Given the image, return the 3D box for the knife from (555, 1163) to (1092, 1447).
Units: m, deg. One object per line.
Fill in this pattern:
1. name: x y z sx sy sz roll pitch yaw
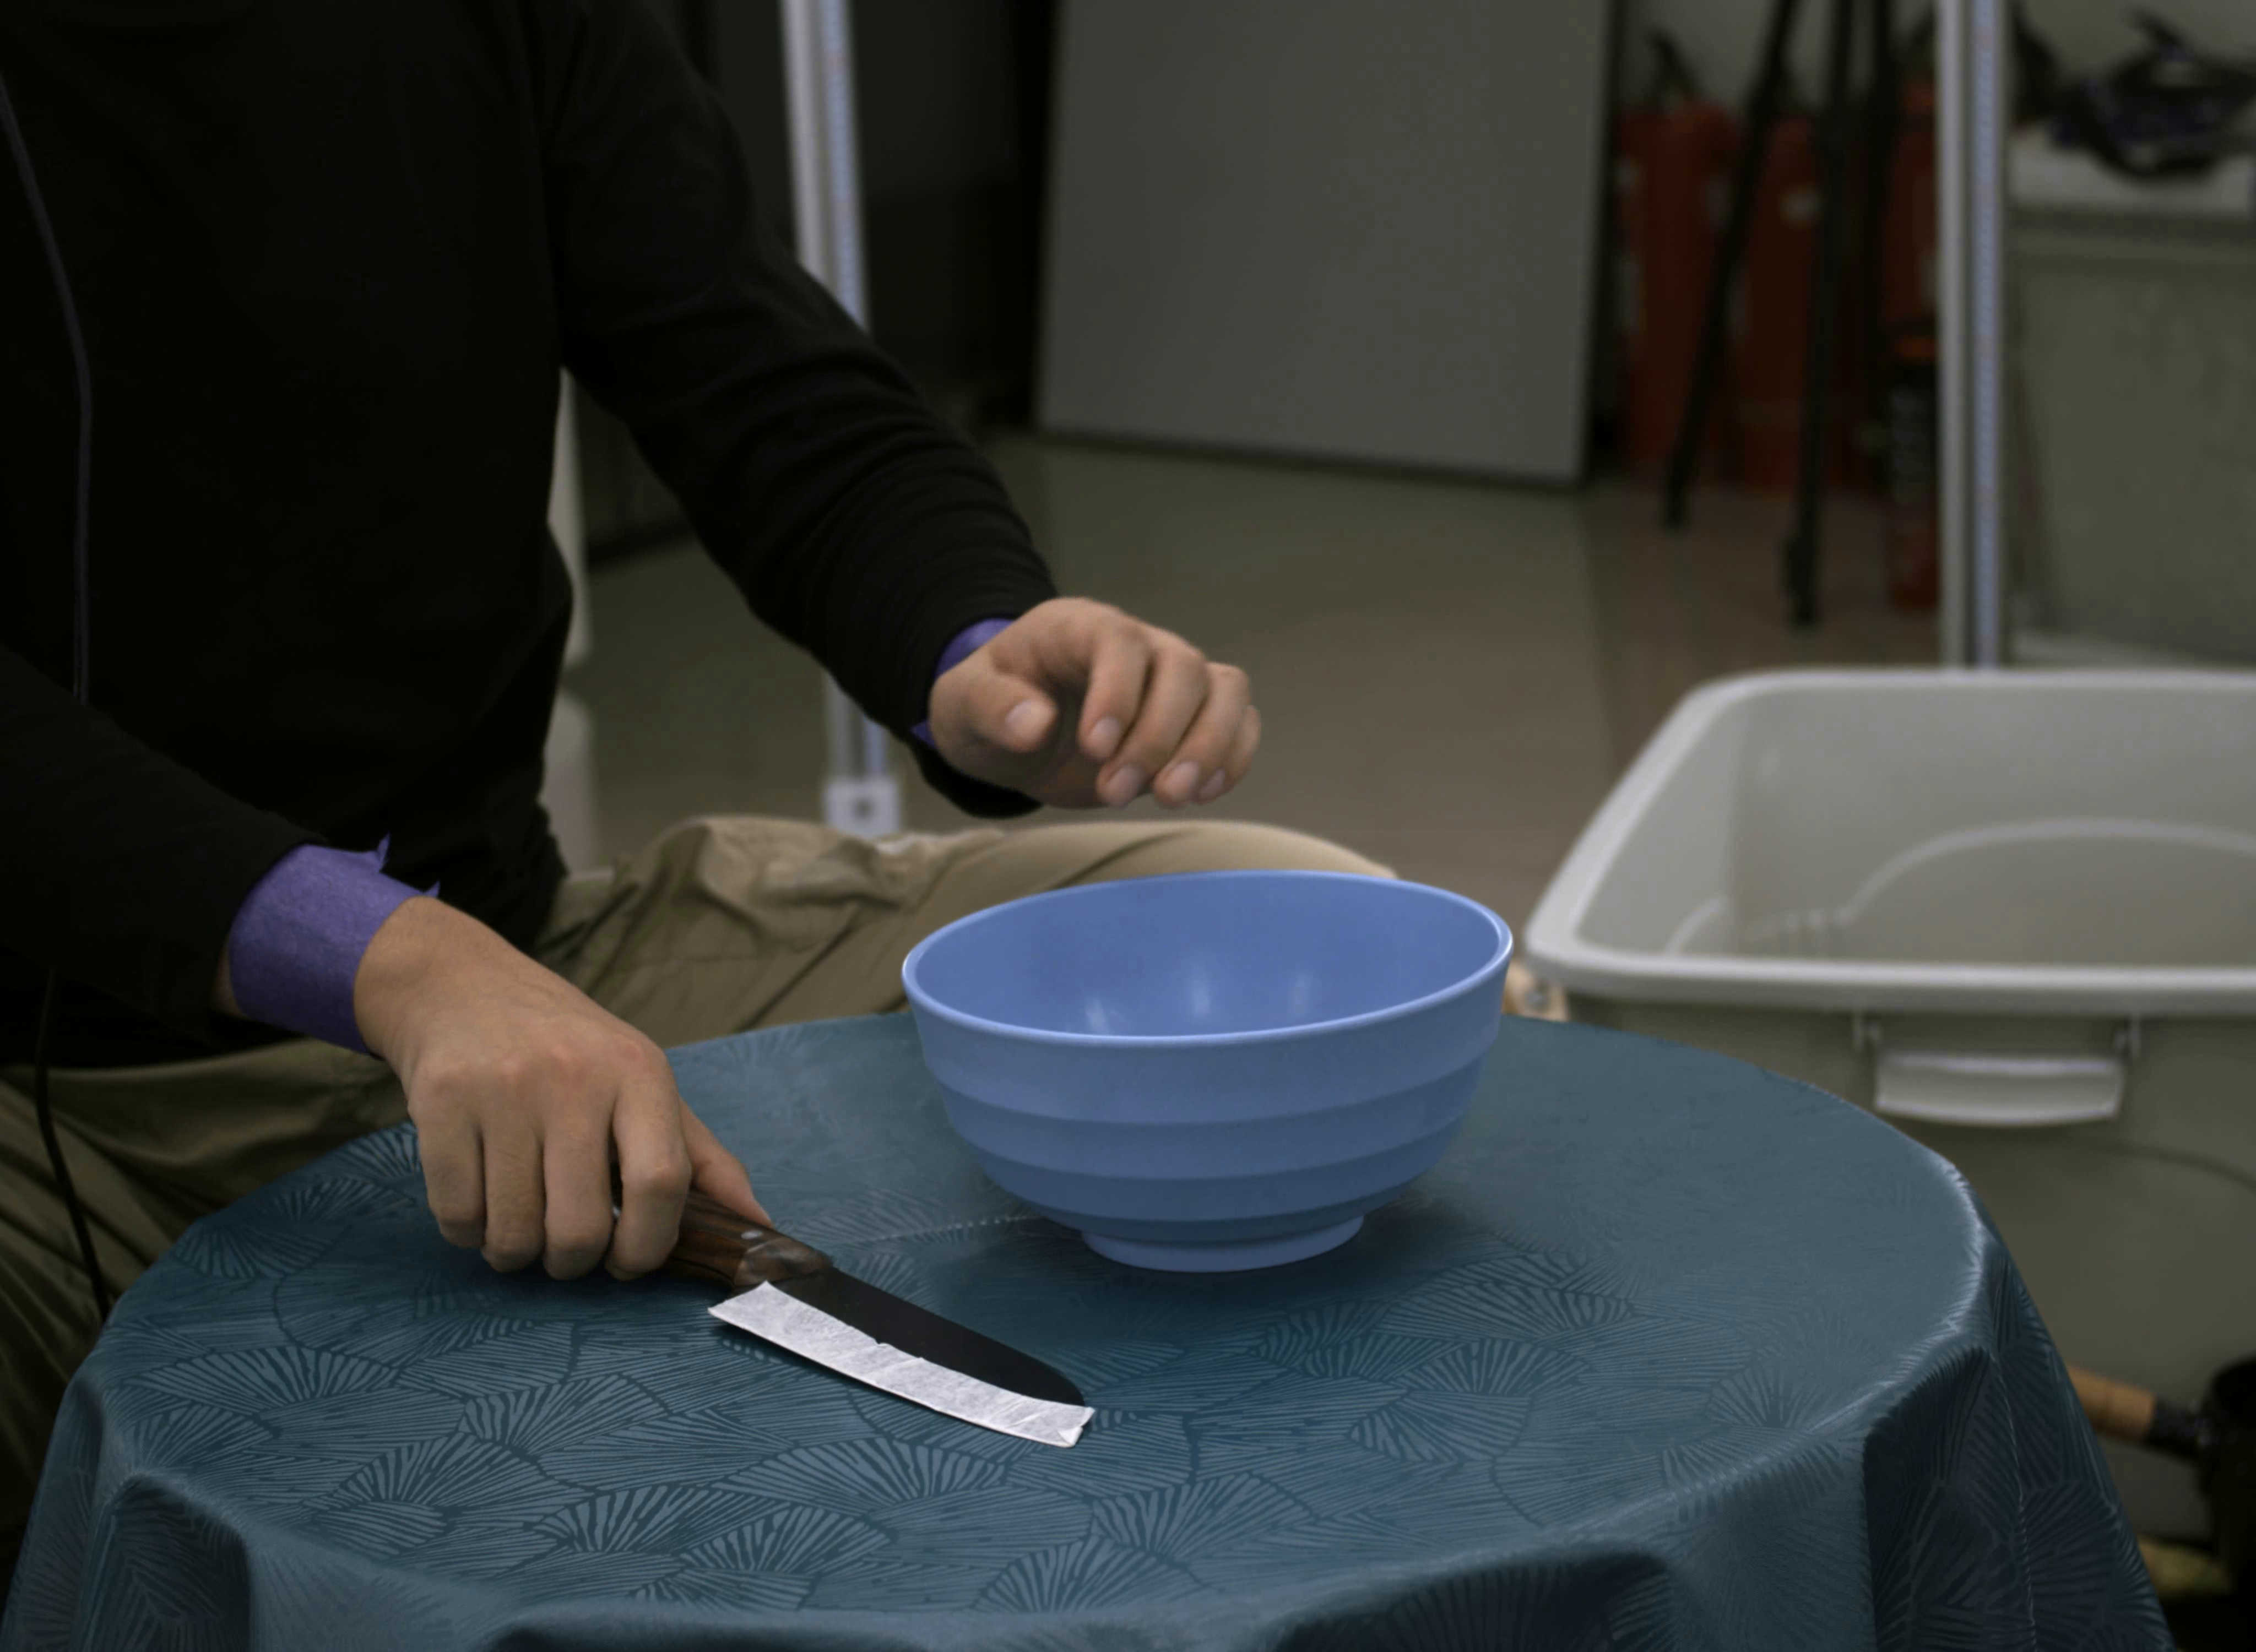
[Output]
1. knife: -0.097 0.148 1.664 0.049 0.020 0.292 -21 23 -30

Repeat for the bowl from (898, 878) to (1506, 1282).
1. bowl: 0.028 0.086 1.721 0.194 0.096 0.197 -6 13 0
